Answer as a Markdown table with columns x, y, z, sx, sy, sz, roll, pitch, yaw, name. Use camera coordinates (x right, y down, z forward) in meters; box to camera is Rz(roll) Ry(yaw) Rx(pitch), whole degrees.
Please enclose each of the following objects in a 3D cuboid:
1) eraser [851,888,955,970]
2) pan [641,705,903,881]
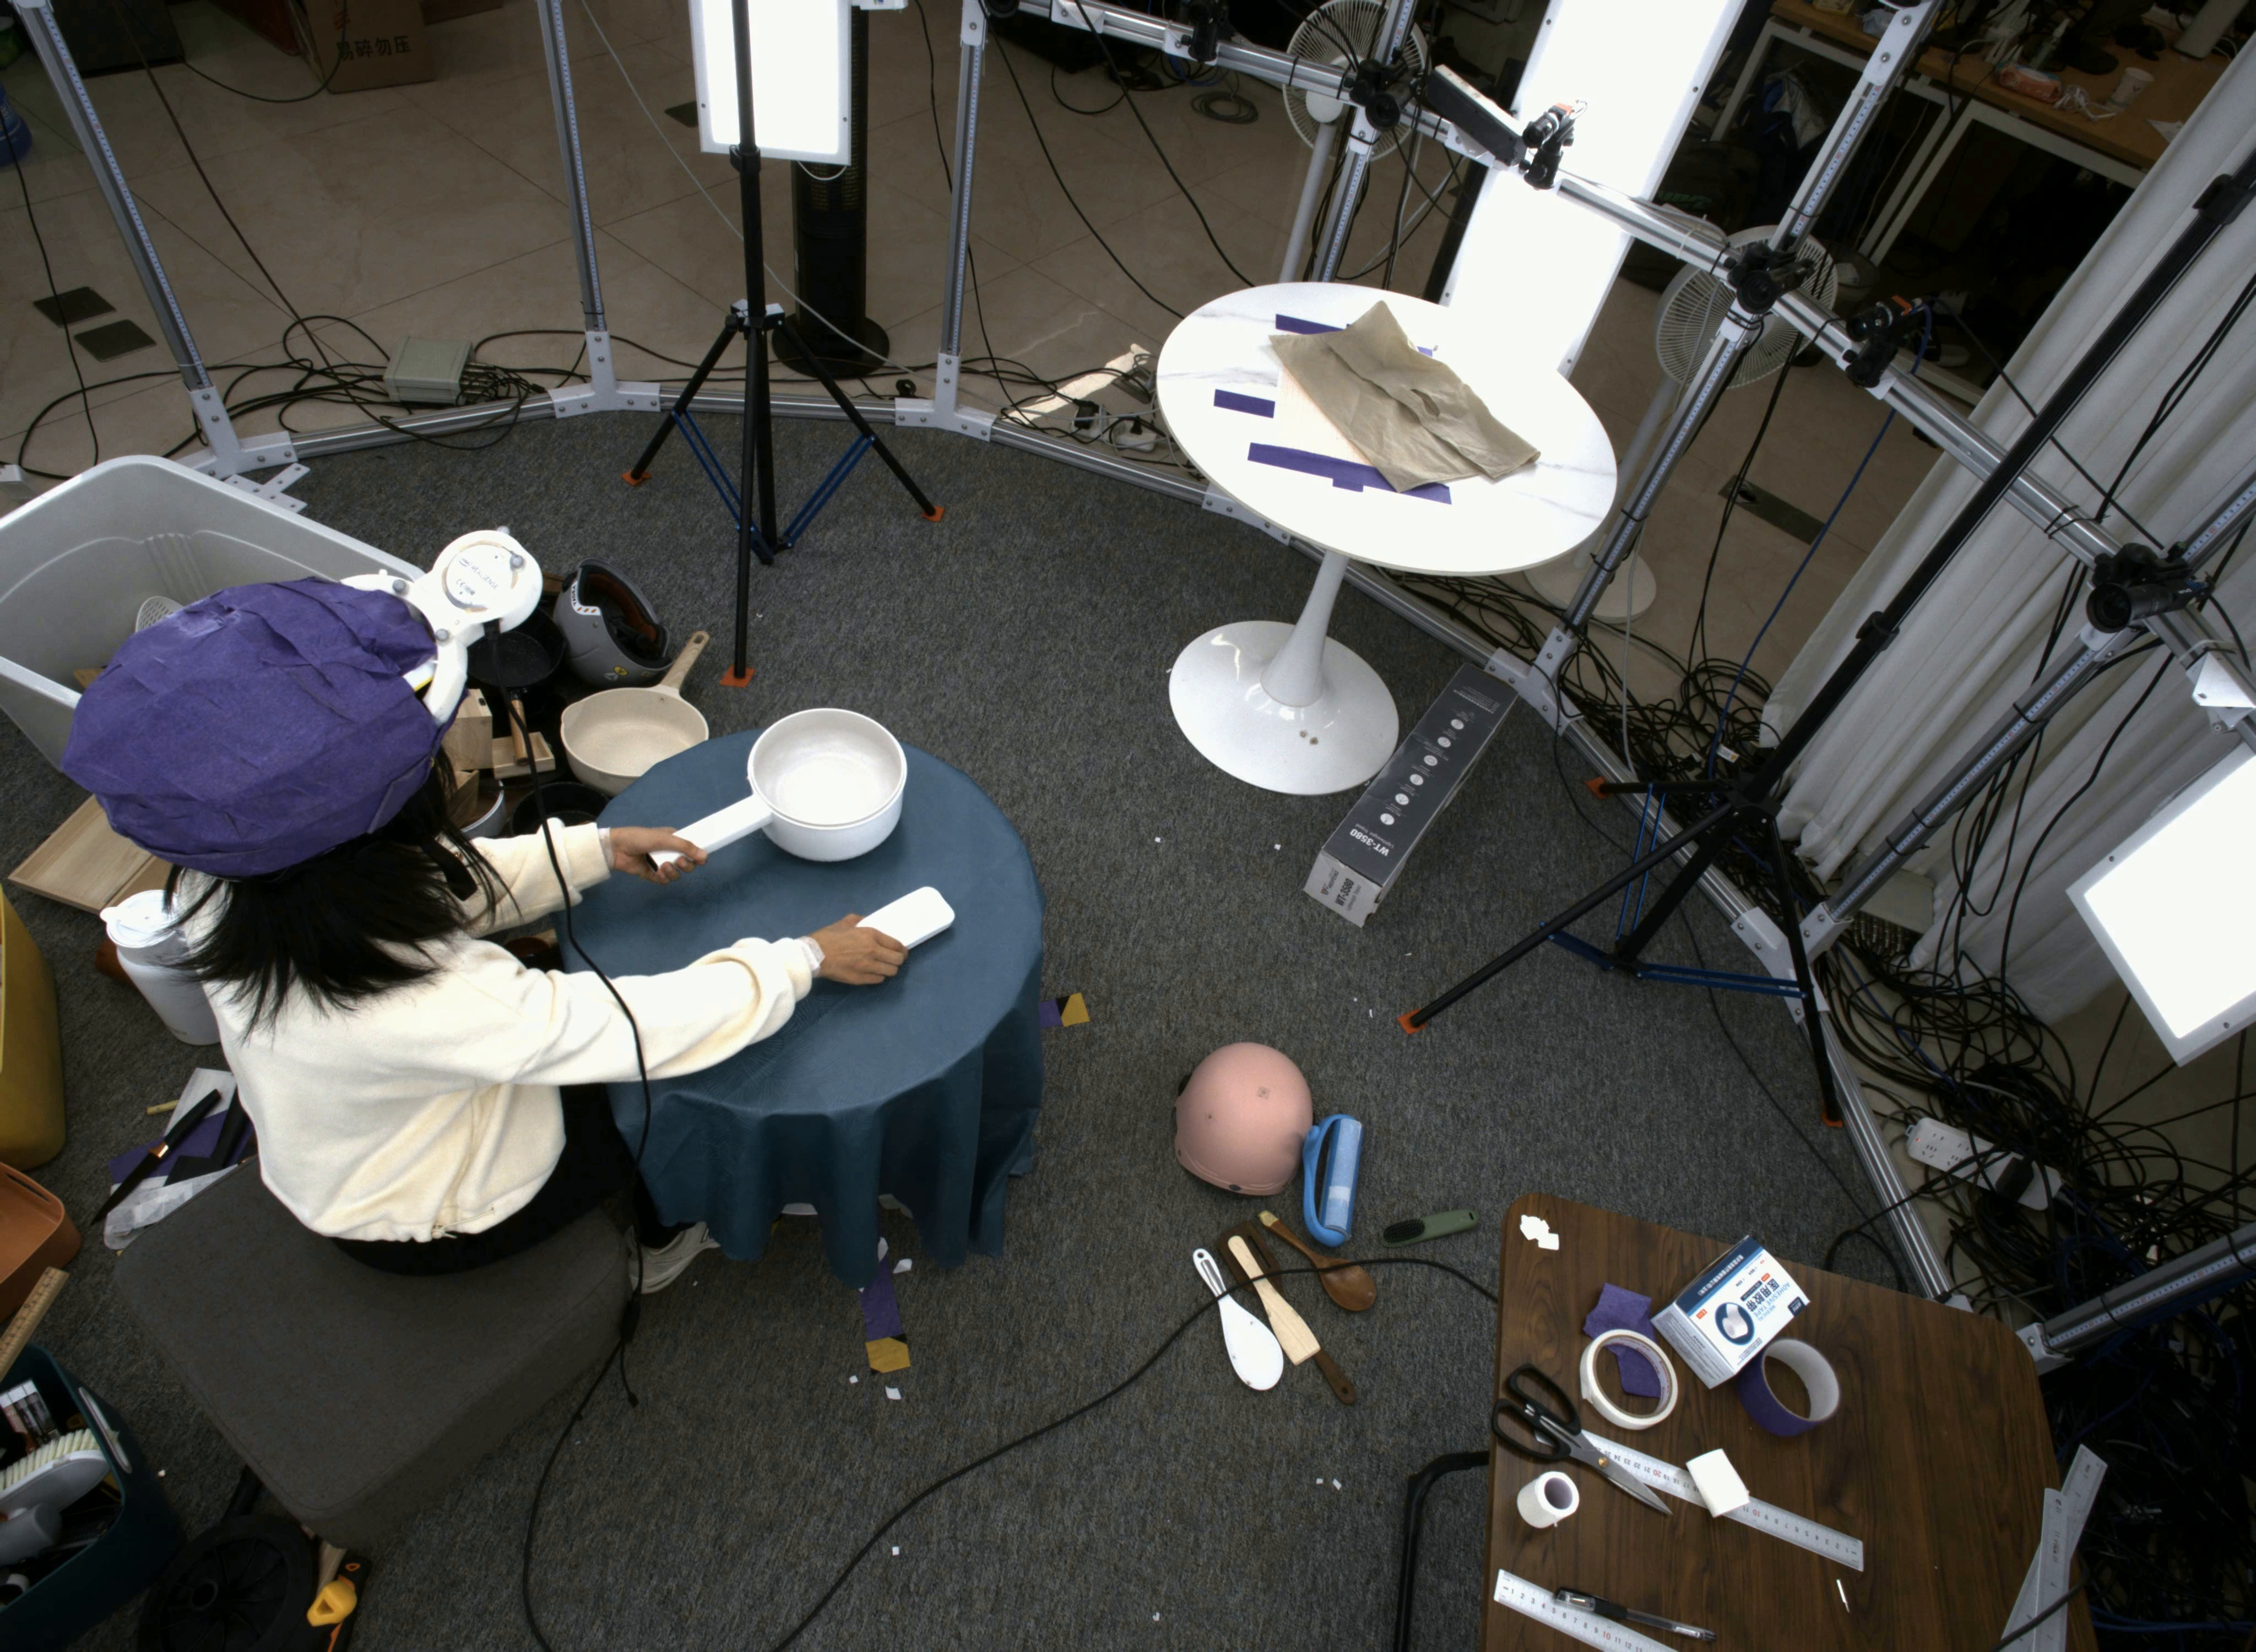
| x | y | z | sx | sy | sz | roll | pitch | yaw | name |
| --- | --- | --- | --- | --- | --- | --- | --- | --- | --- |
| -0.284 | 0.126 | 1.641 | 0.132 | 0.035 | 0.062 | -29 | 66 | -31 | eraser |
| -0.451 | -0.016 | 1.659 | 0.356 | 0.104 | 0.196 | -34 | 66 | -30 | pan |
